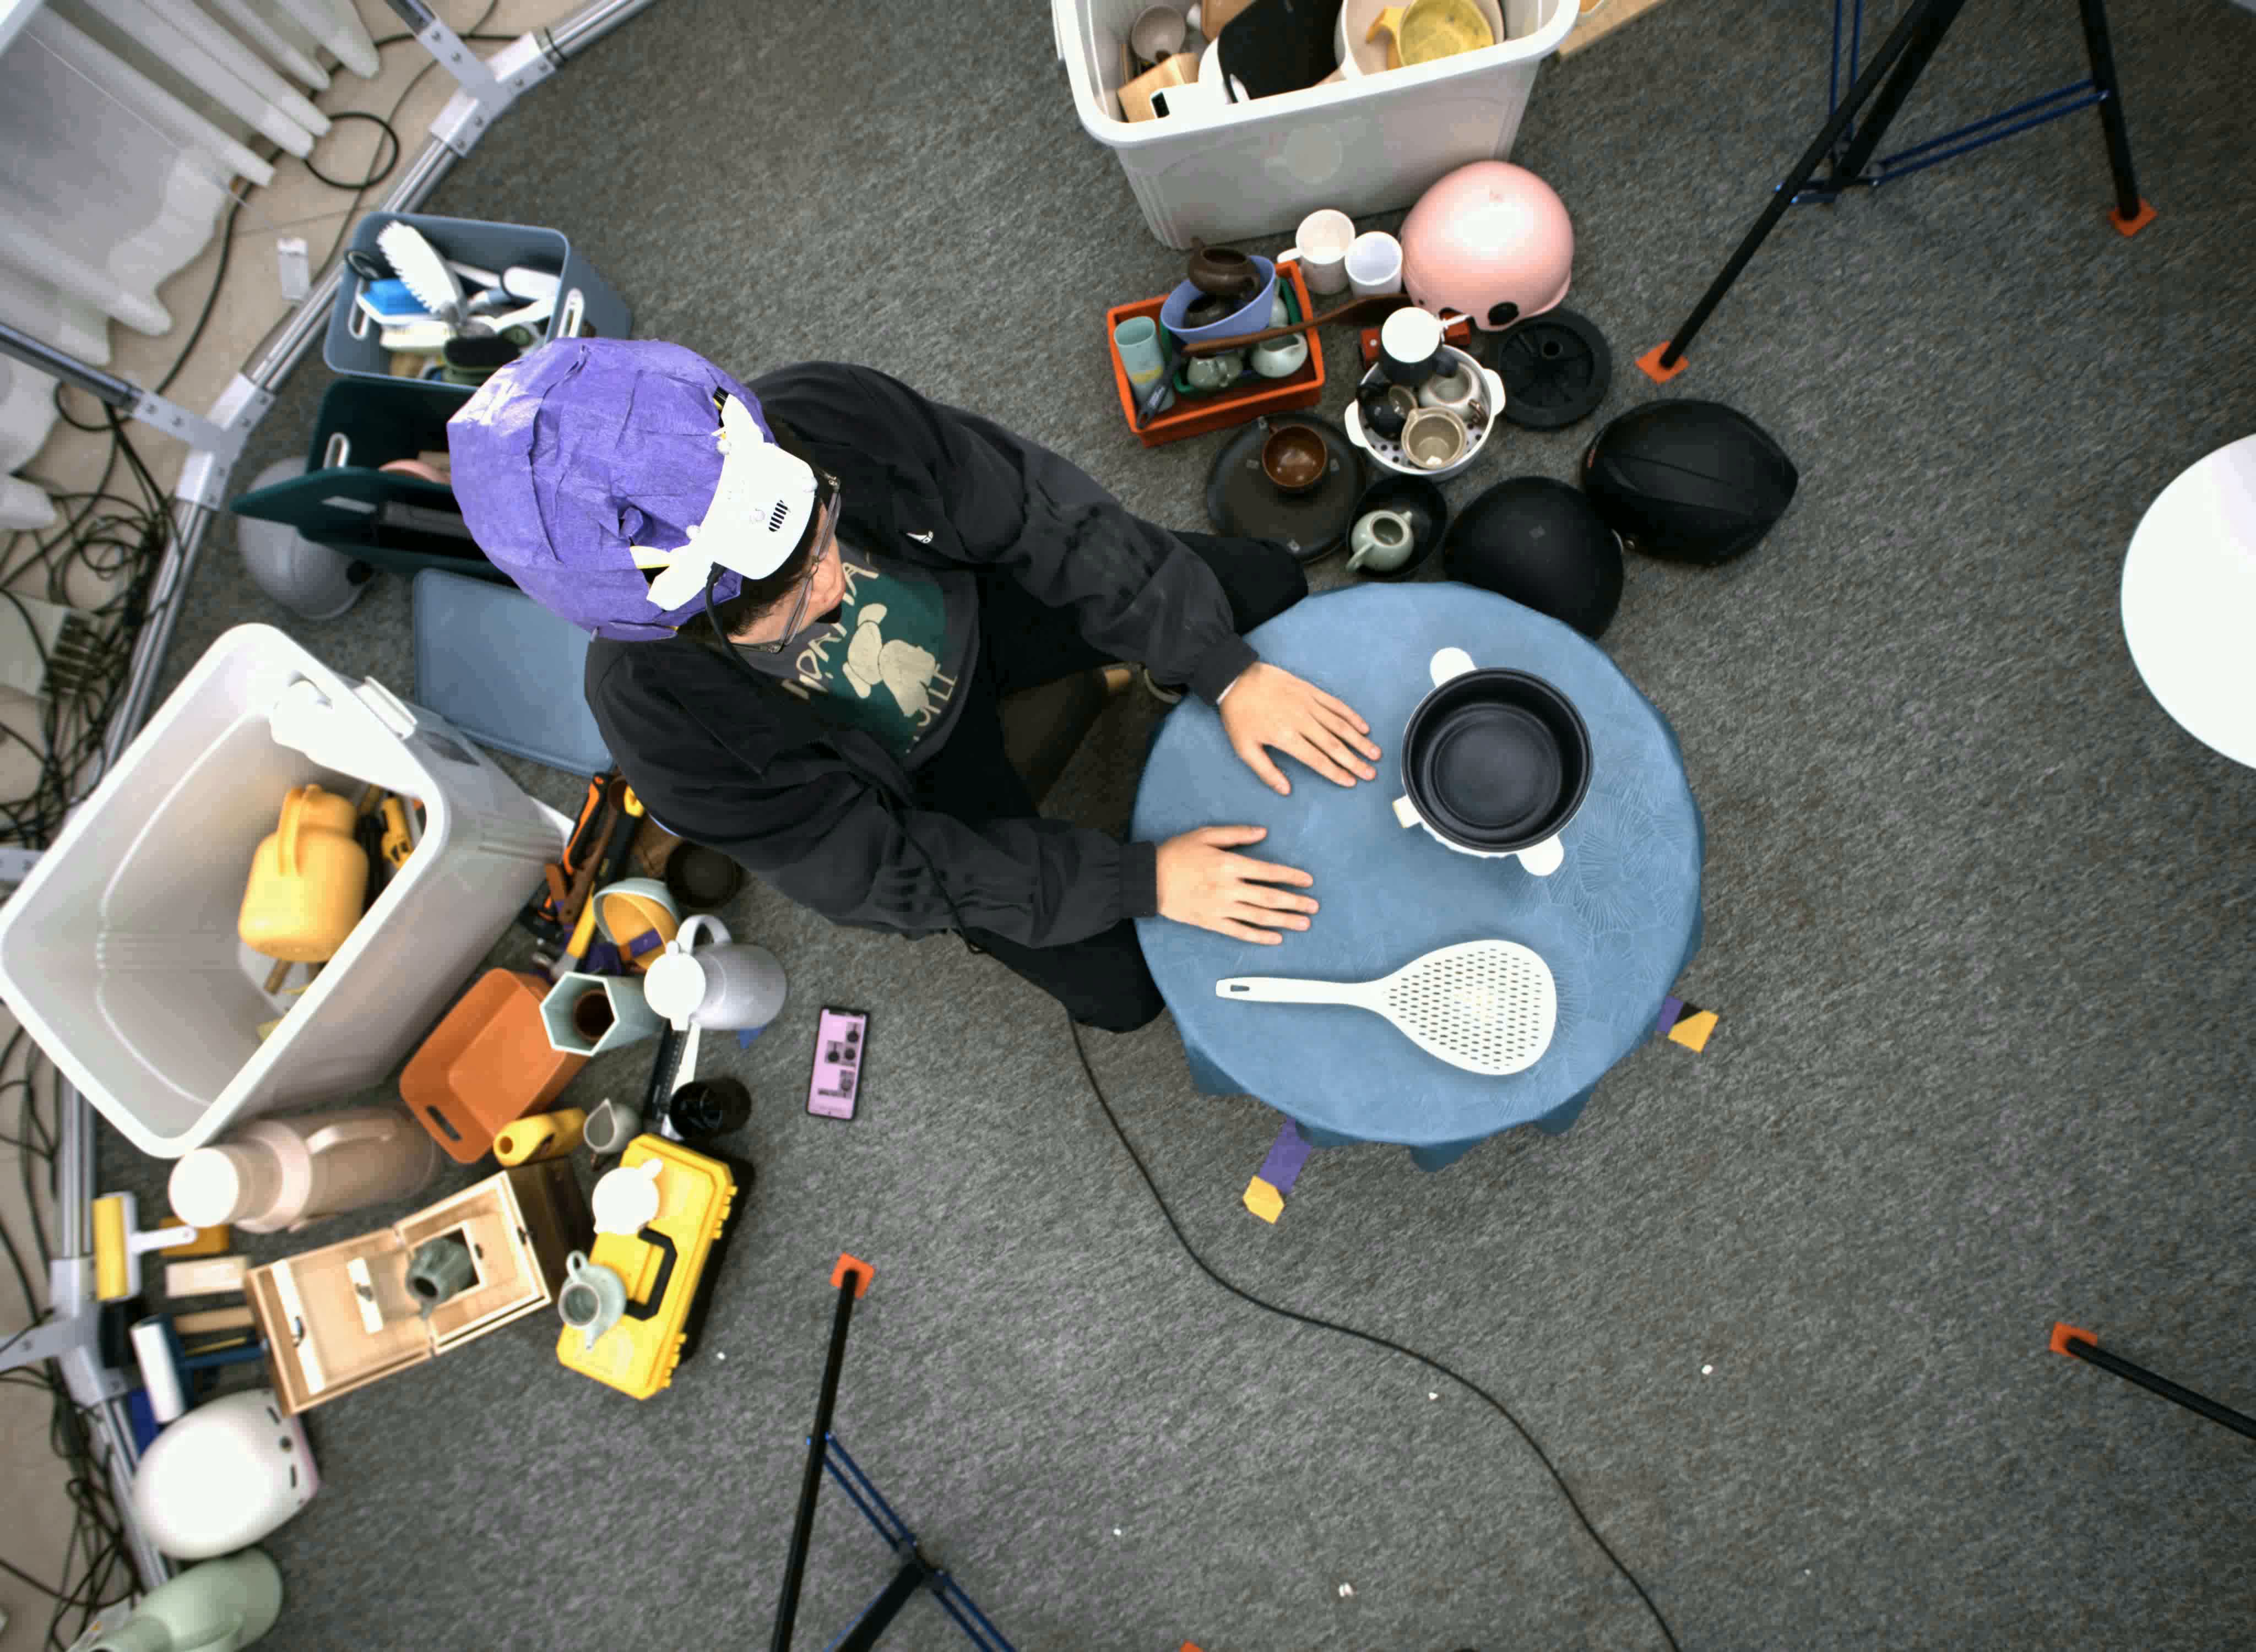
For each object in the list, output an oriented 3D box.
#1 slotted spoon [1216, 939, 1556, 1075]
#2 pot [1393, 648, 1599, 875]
[{"bbox_3d":[0.262,0.177,1.433,0.349,0.050,0.136,3,89,10],"label":"slotted spoon"},{"bbox_3d":[0.361,-0.055,1.378,0.191,0.143,0.238,-25,81,5],"label":"pot"}]
